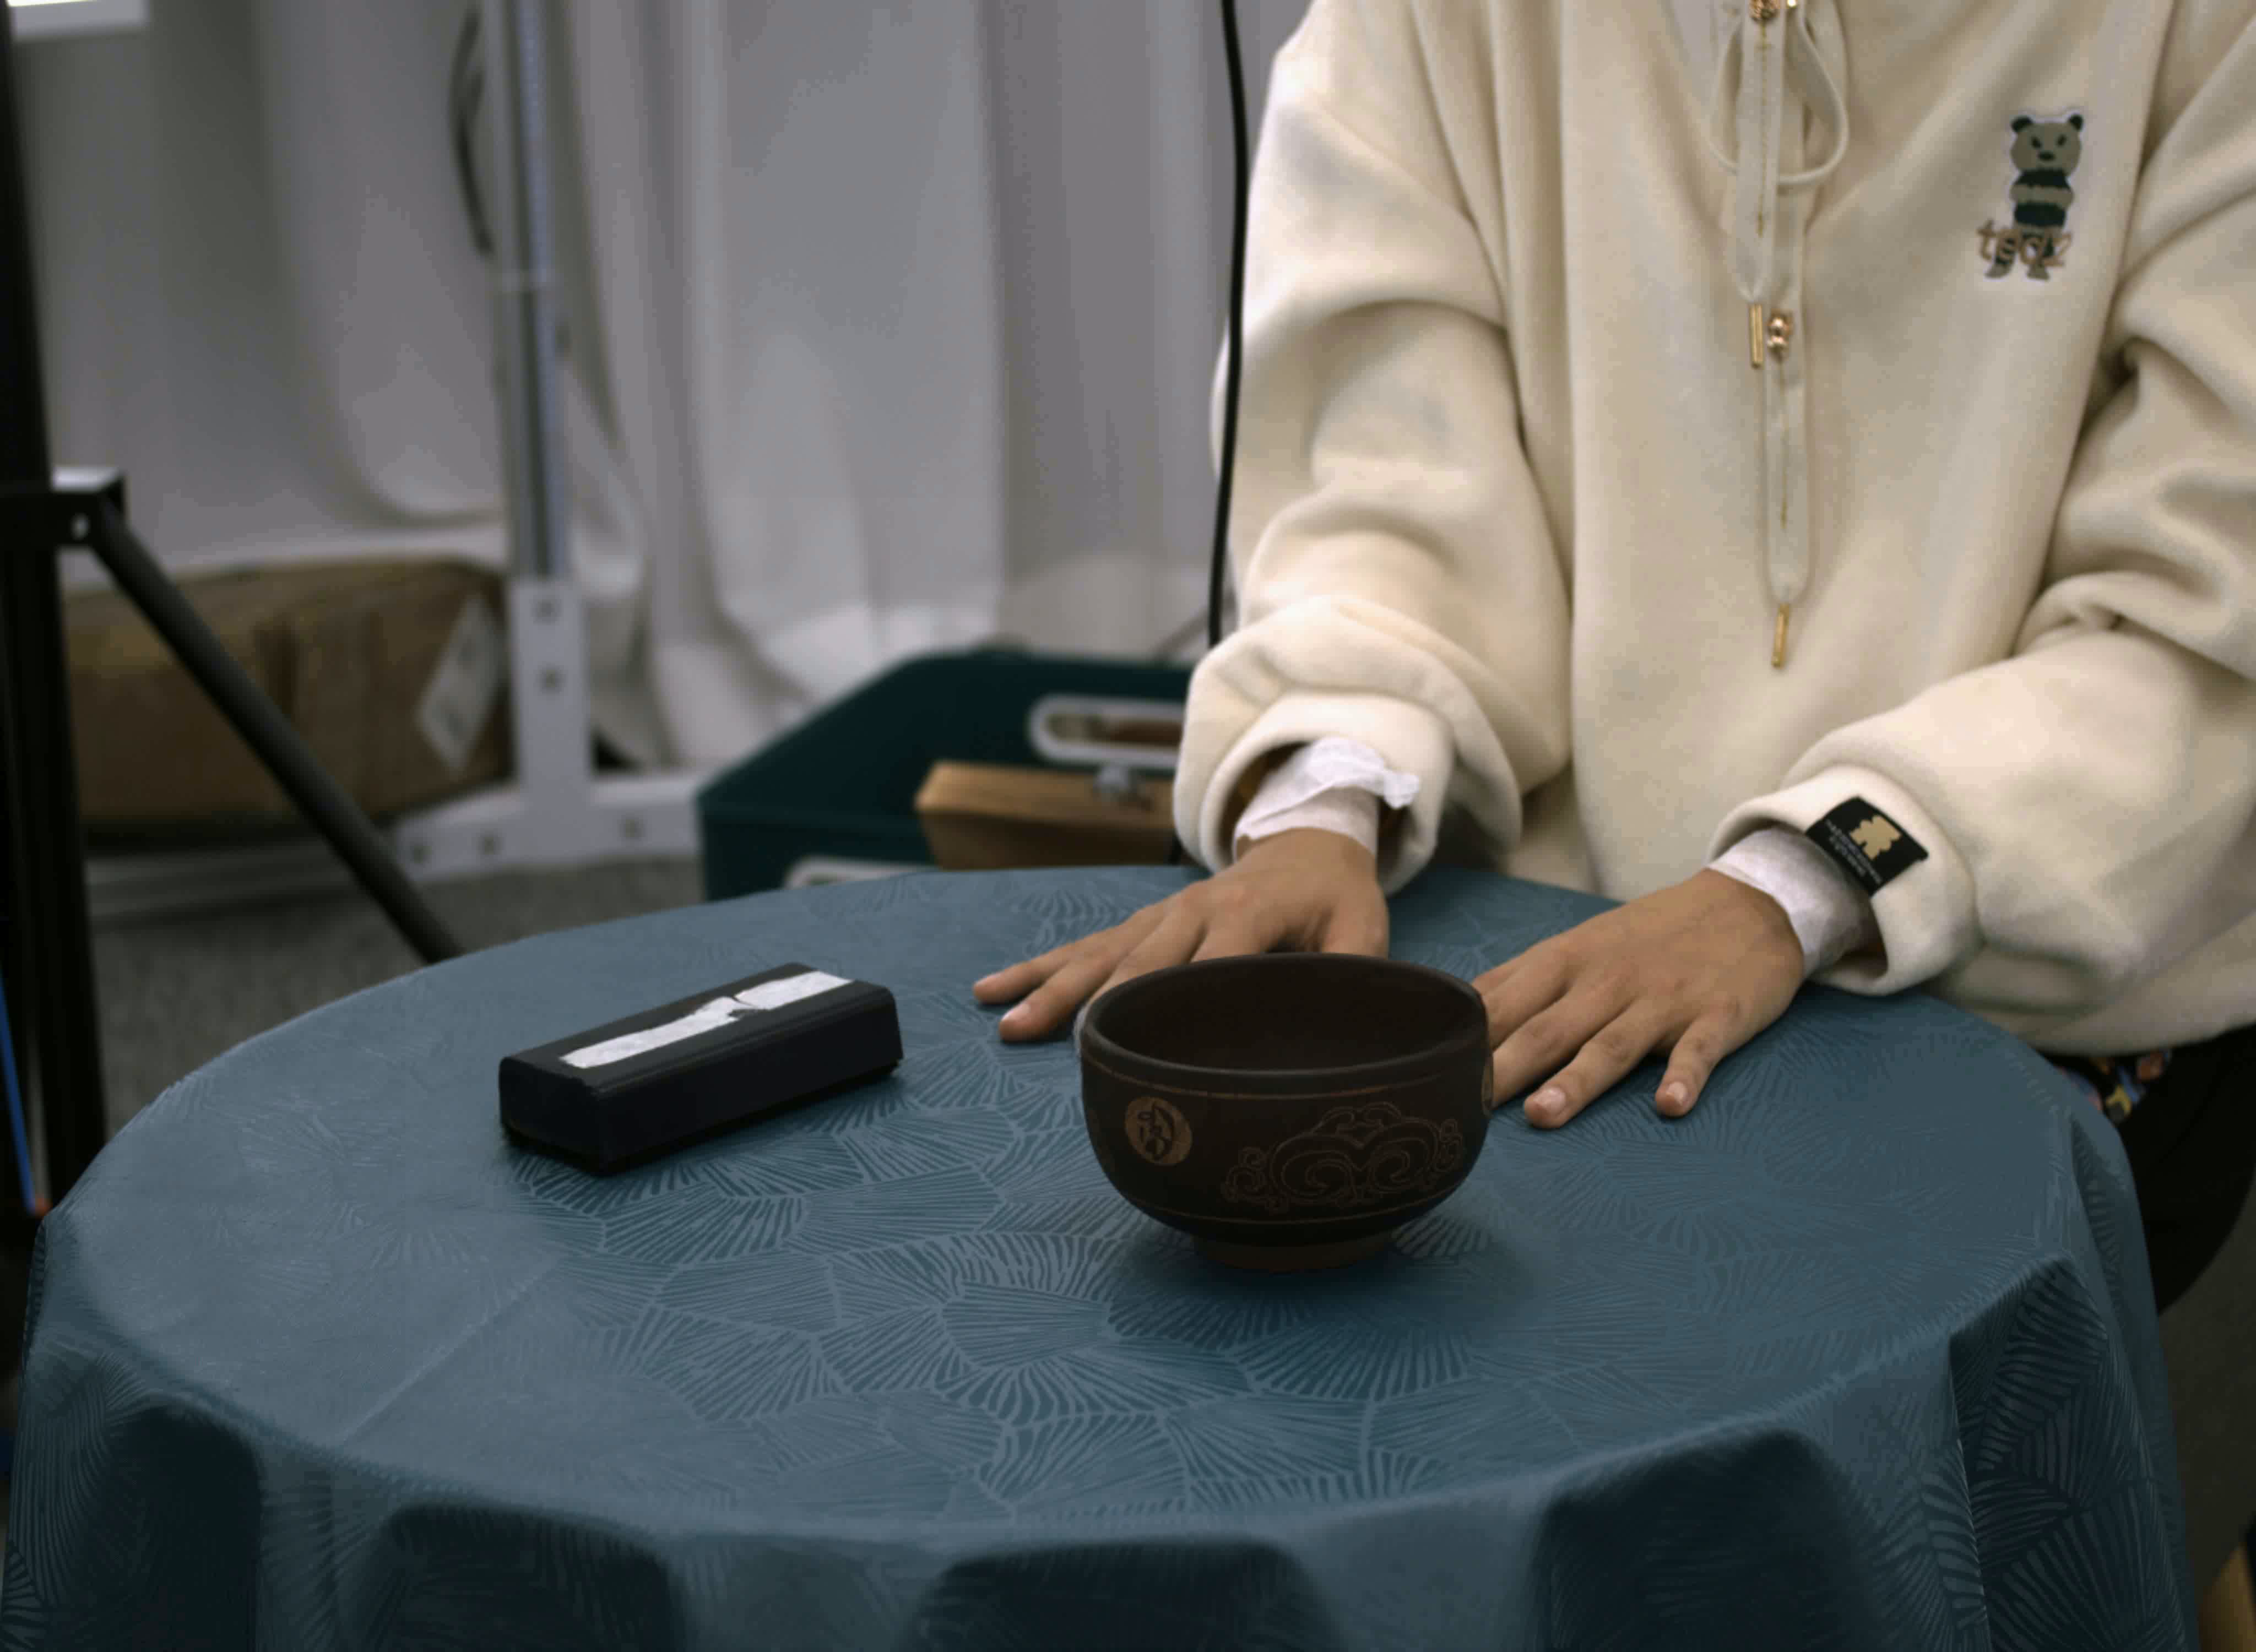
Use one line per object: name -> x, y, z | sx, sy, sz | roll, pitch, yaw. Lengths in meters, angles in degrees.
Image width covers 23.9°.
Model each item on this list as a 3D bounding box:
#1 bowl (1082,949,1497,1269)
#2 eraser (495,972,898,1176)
bowl -> 0.046, 0.084, 1.504 | 0.117, 0.070, 0.118 | -3, 14, -1
eraser -> -0.132, 0.076, 1.645 | 0.055, 0.030, 0.122 | 14, 21, 42
